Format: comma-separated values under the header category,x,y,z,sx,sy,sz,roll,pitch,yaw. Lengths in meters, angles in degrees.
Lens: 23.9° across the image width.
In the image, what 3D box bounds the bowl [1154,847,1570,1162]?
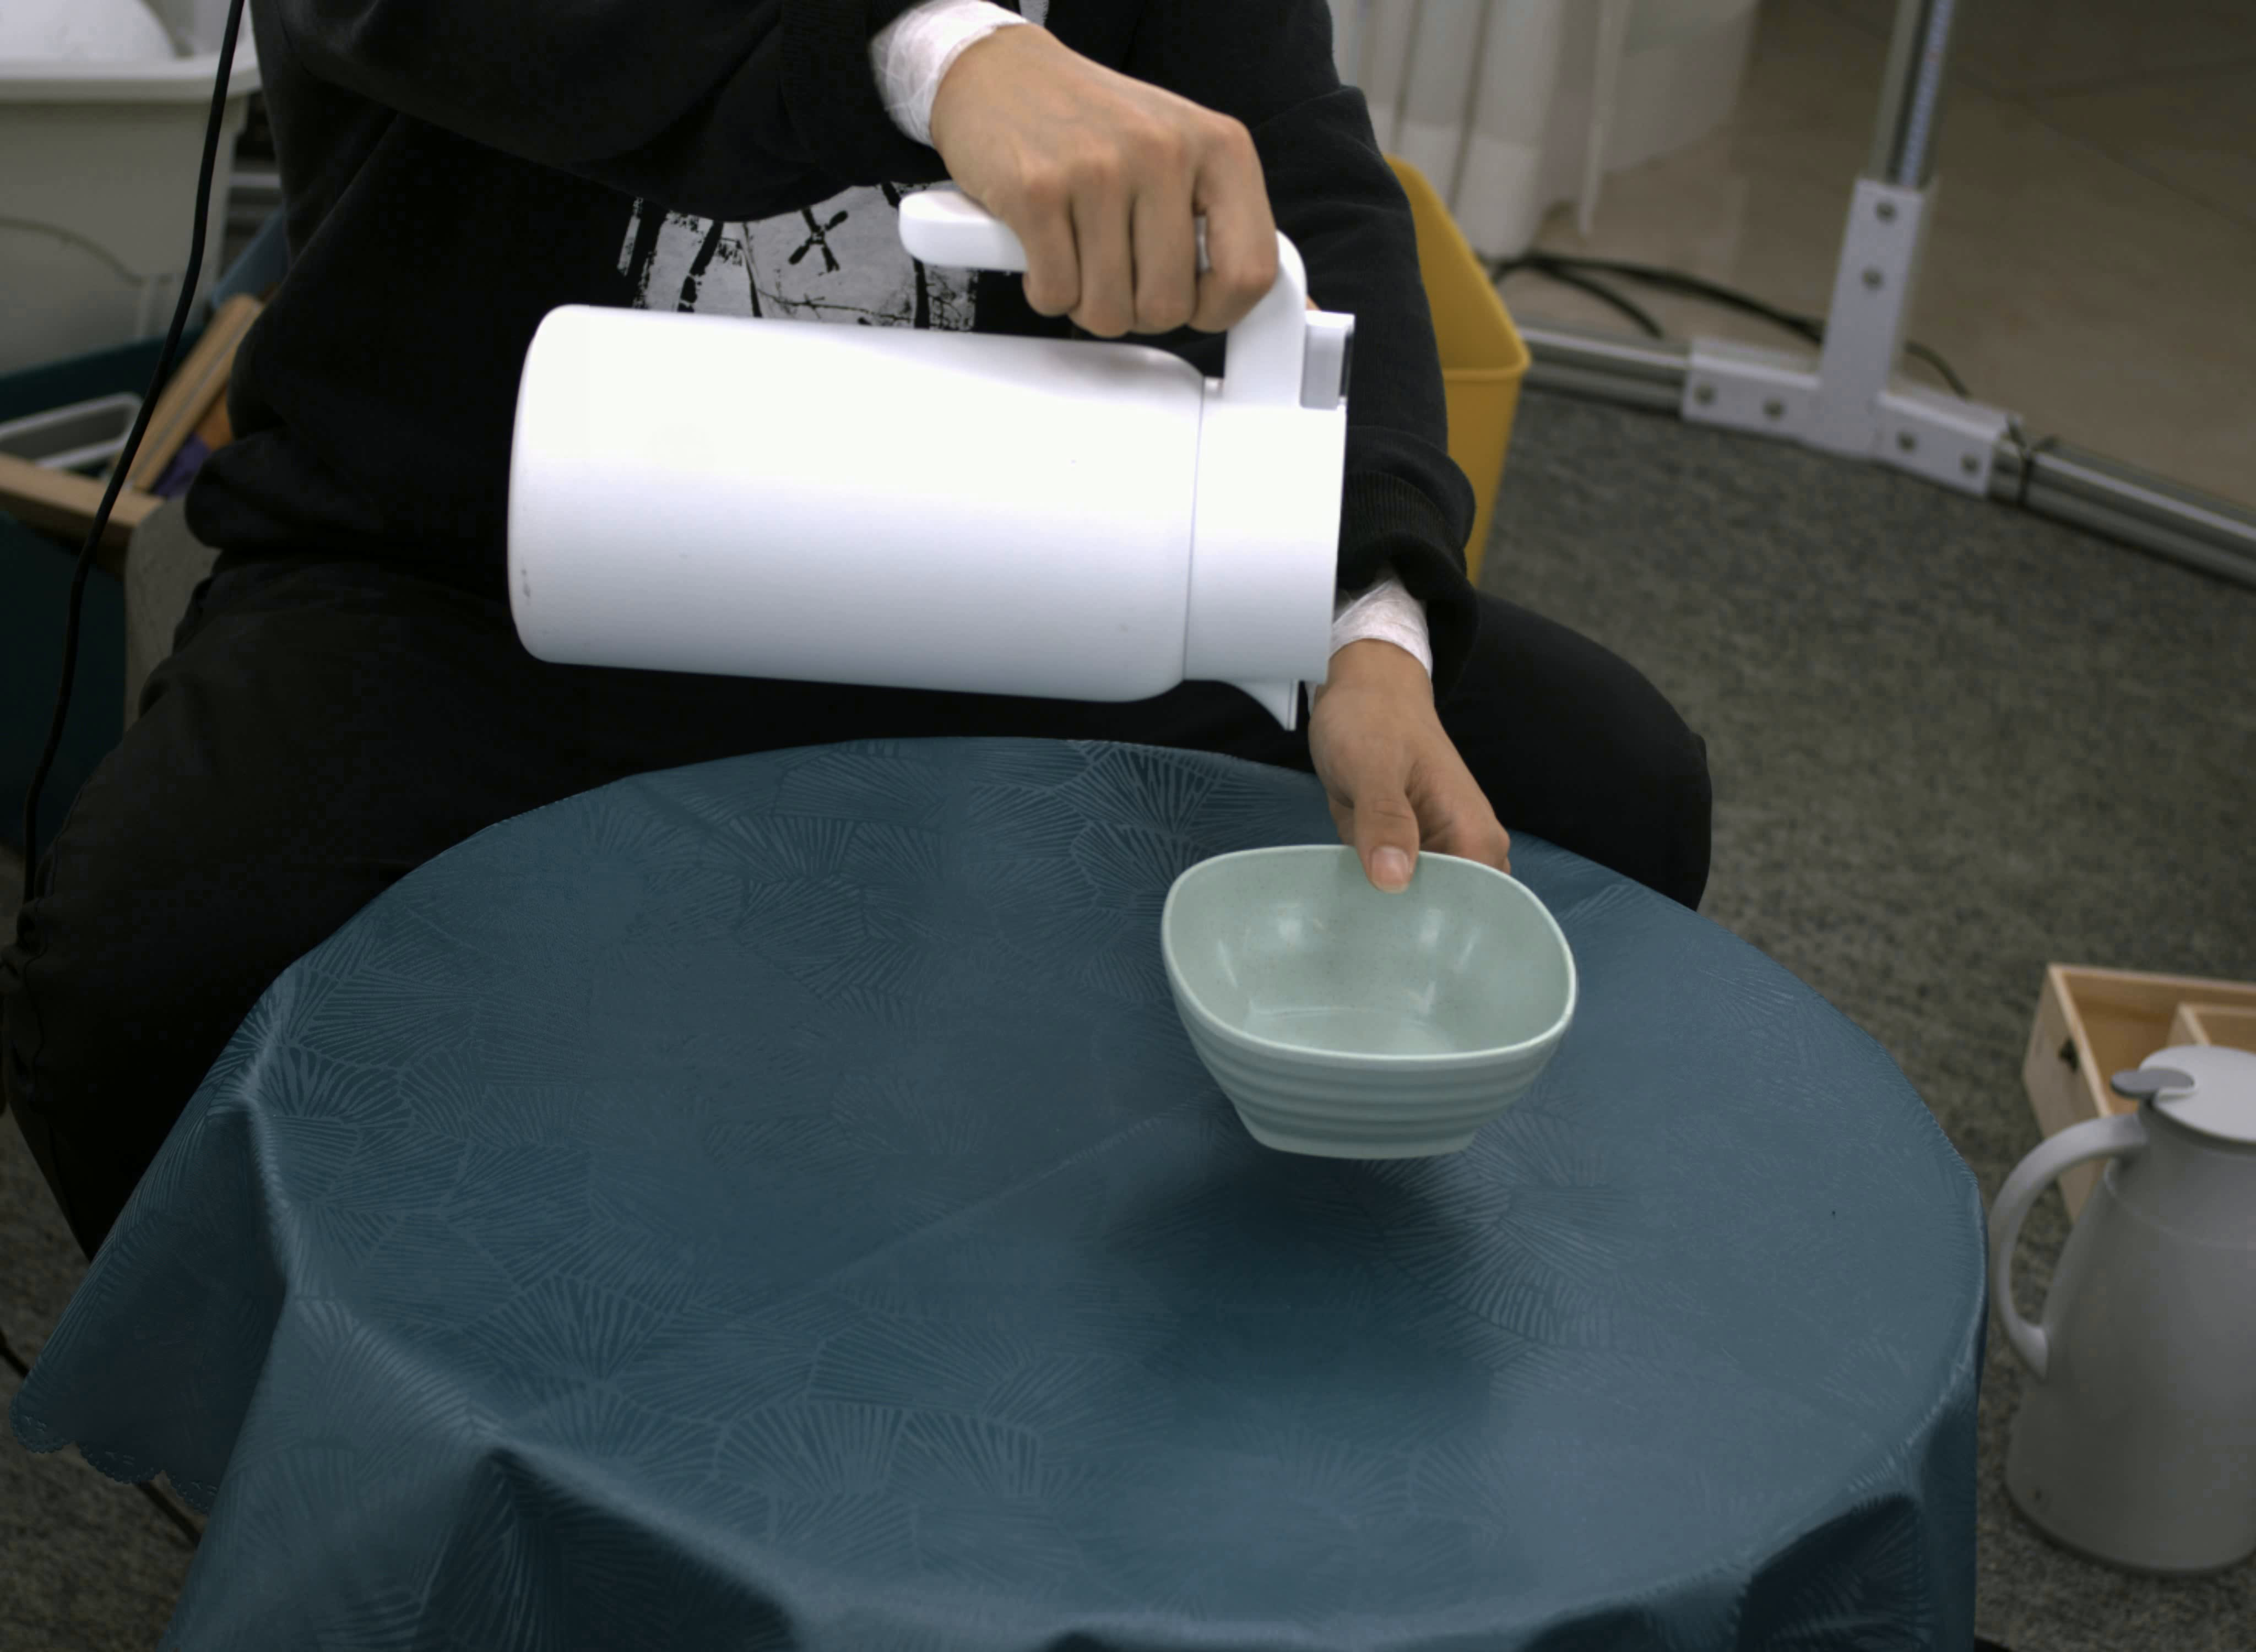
category,x,y,z,sx,sy,sz,roll,pitch,yaw
bowl,0.076,0.066,1.791,0.151,0.058,0.152,4,29,-3

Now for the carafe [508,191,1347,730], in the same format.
category,x,y,z,sx,sy,sz,roll,pitch,yaw
carafe,-0.063,-0.119,1.731,0.268,0.172,0.124,5,24,3
